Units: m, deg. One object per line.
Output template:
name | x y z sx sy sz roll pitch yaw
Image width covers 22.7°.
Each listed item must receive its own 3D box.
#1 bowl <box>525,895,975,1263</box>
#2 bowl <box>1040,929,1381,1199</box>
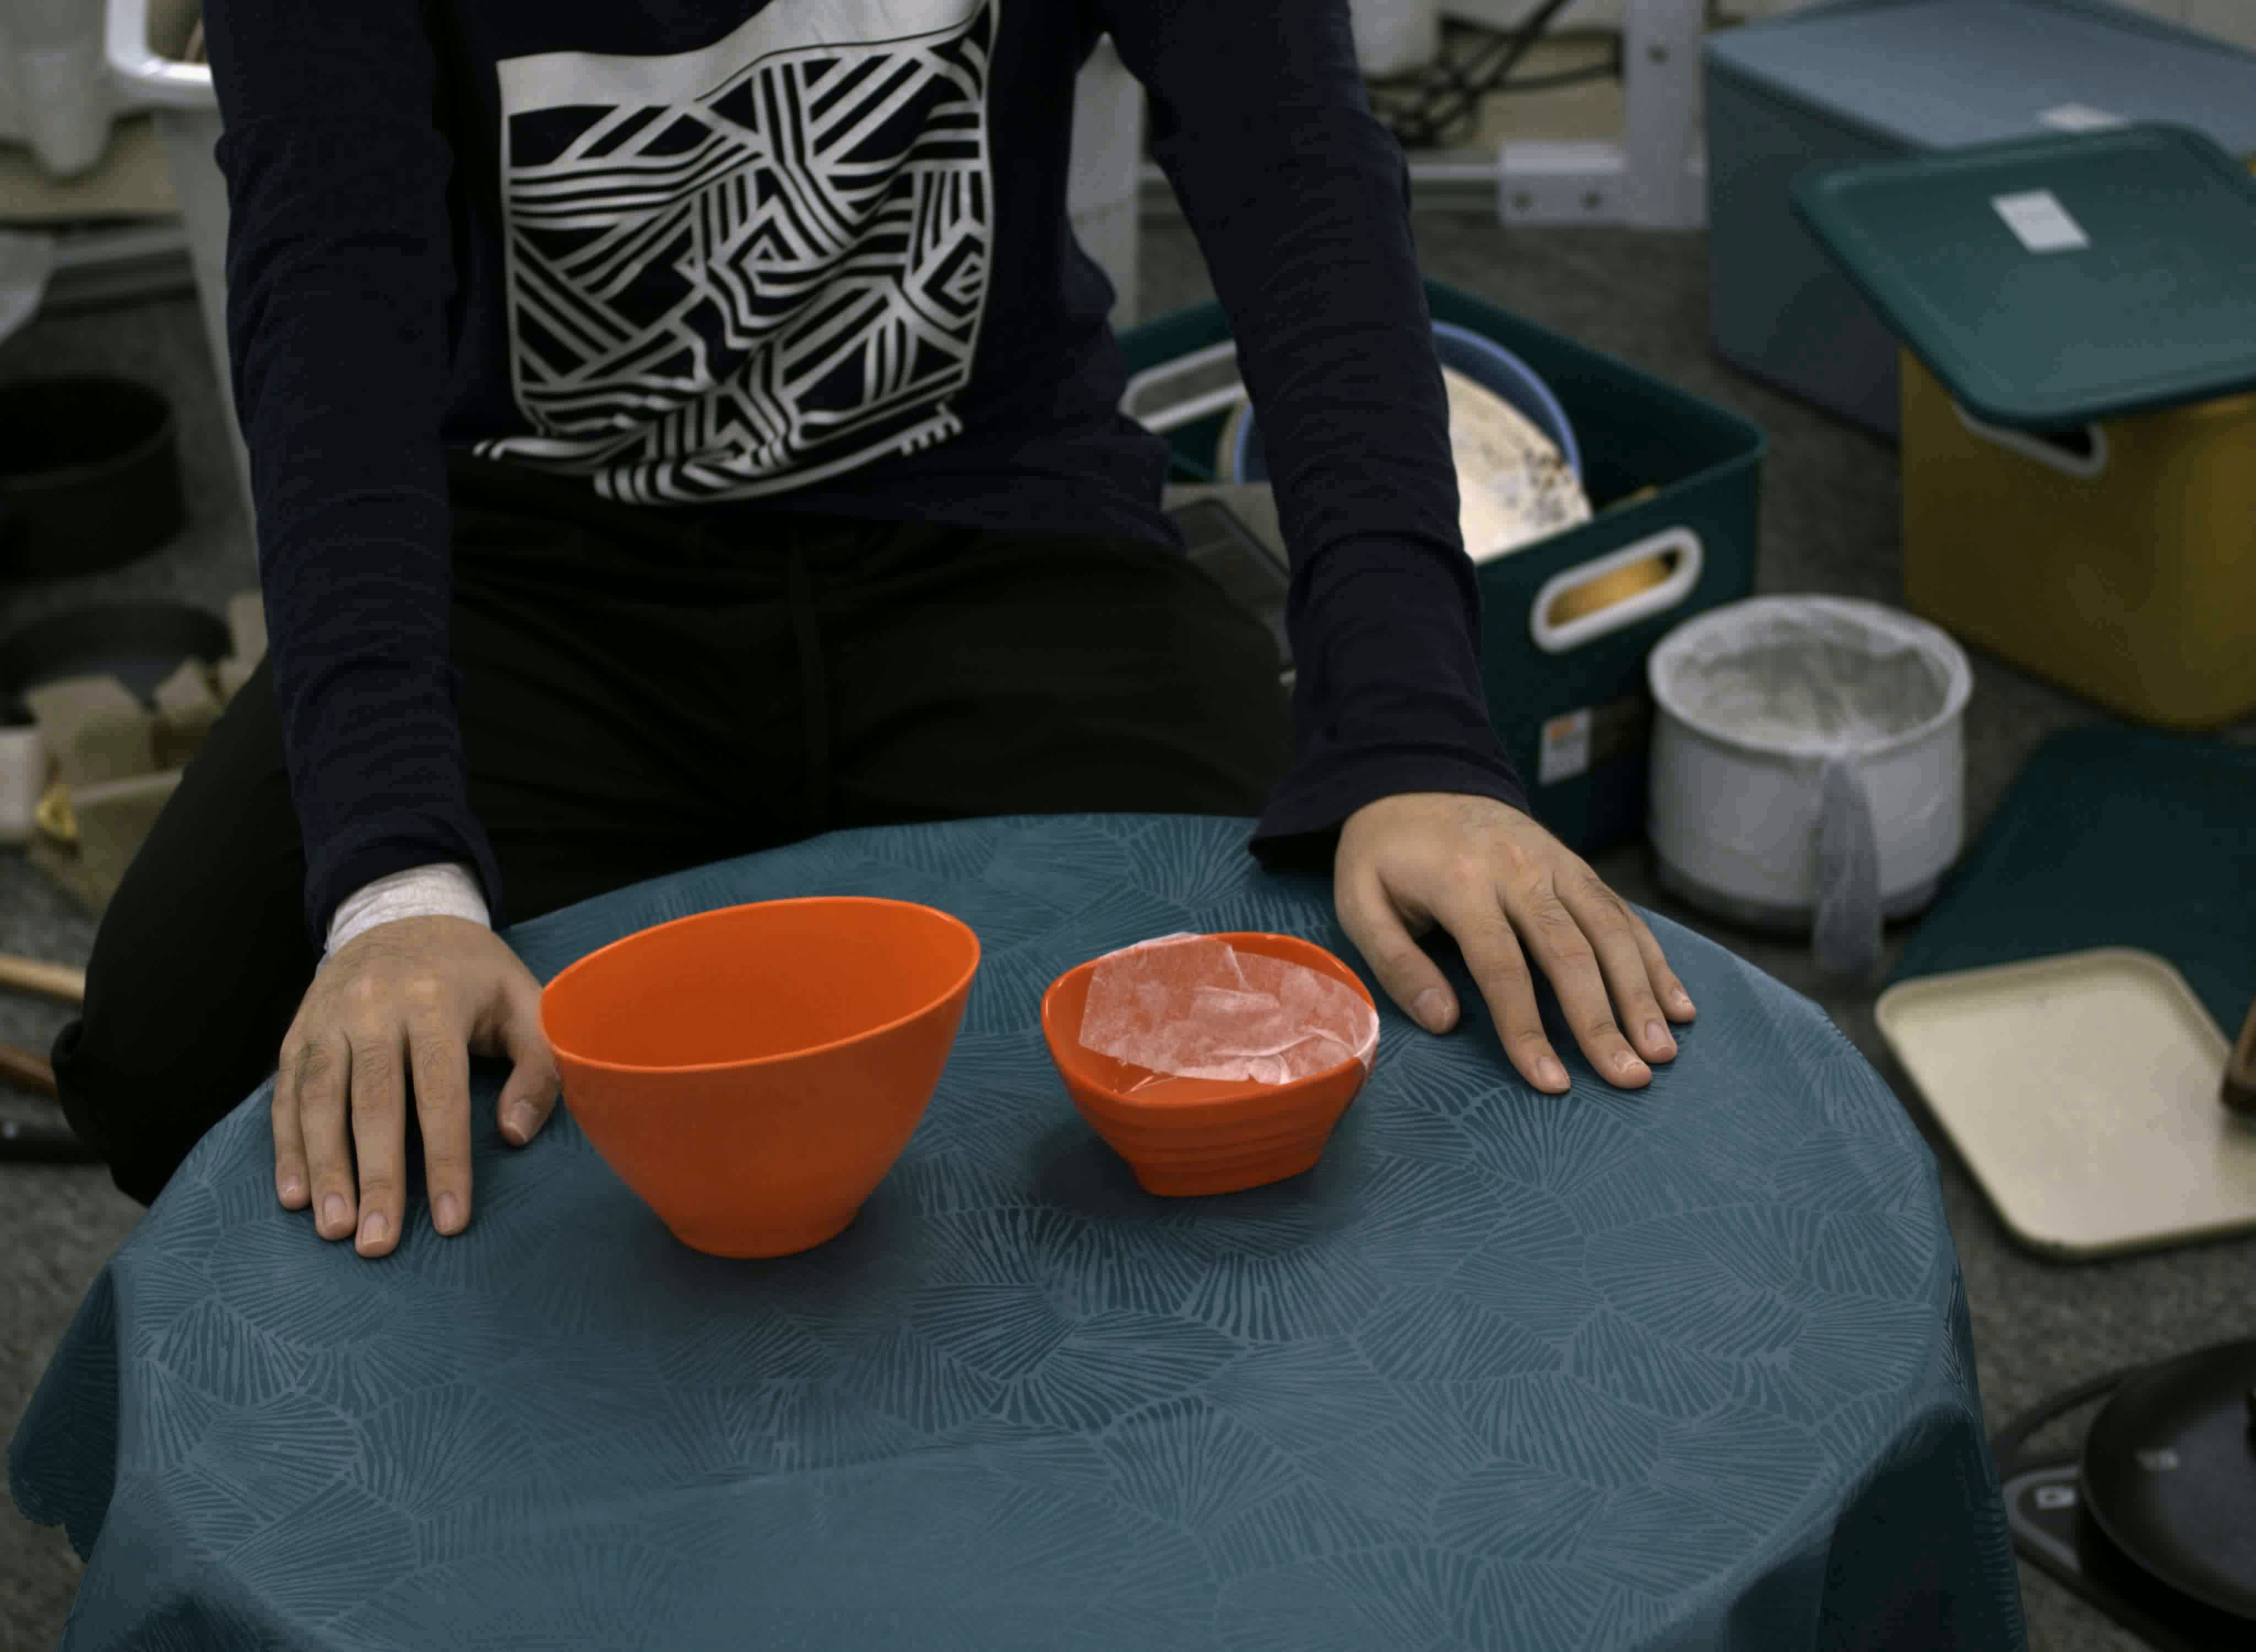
bowl | -0.120 0.087 1.832 0.147 0.103 0.150 -3 27 2
bowl | 0.028 0.084 1.877 0.118 0.051 0.121 -3 27 2
